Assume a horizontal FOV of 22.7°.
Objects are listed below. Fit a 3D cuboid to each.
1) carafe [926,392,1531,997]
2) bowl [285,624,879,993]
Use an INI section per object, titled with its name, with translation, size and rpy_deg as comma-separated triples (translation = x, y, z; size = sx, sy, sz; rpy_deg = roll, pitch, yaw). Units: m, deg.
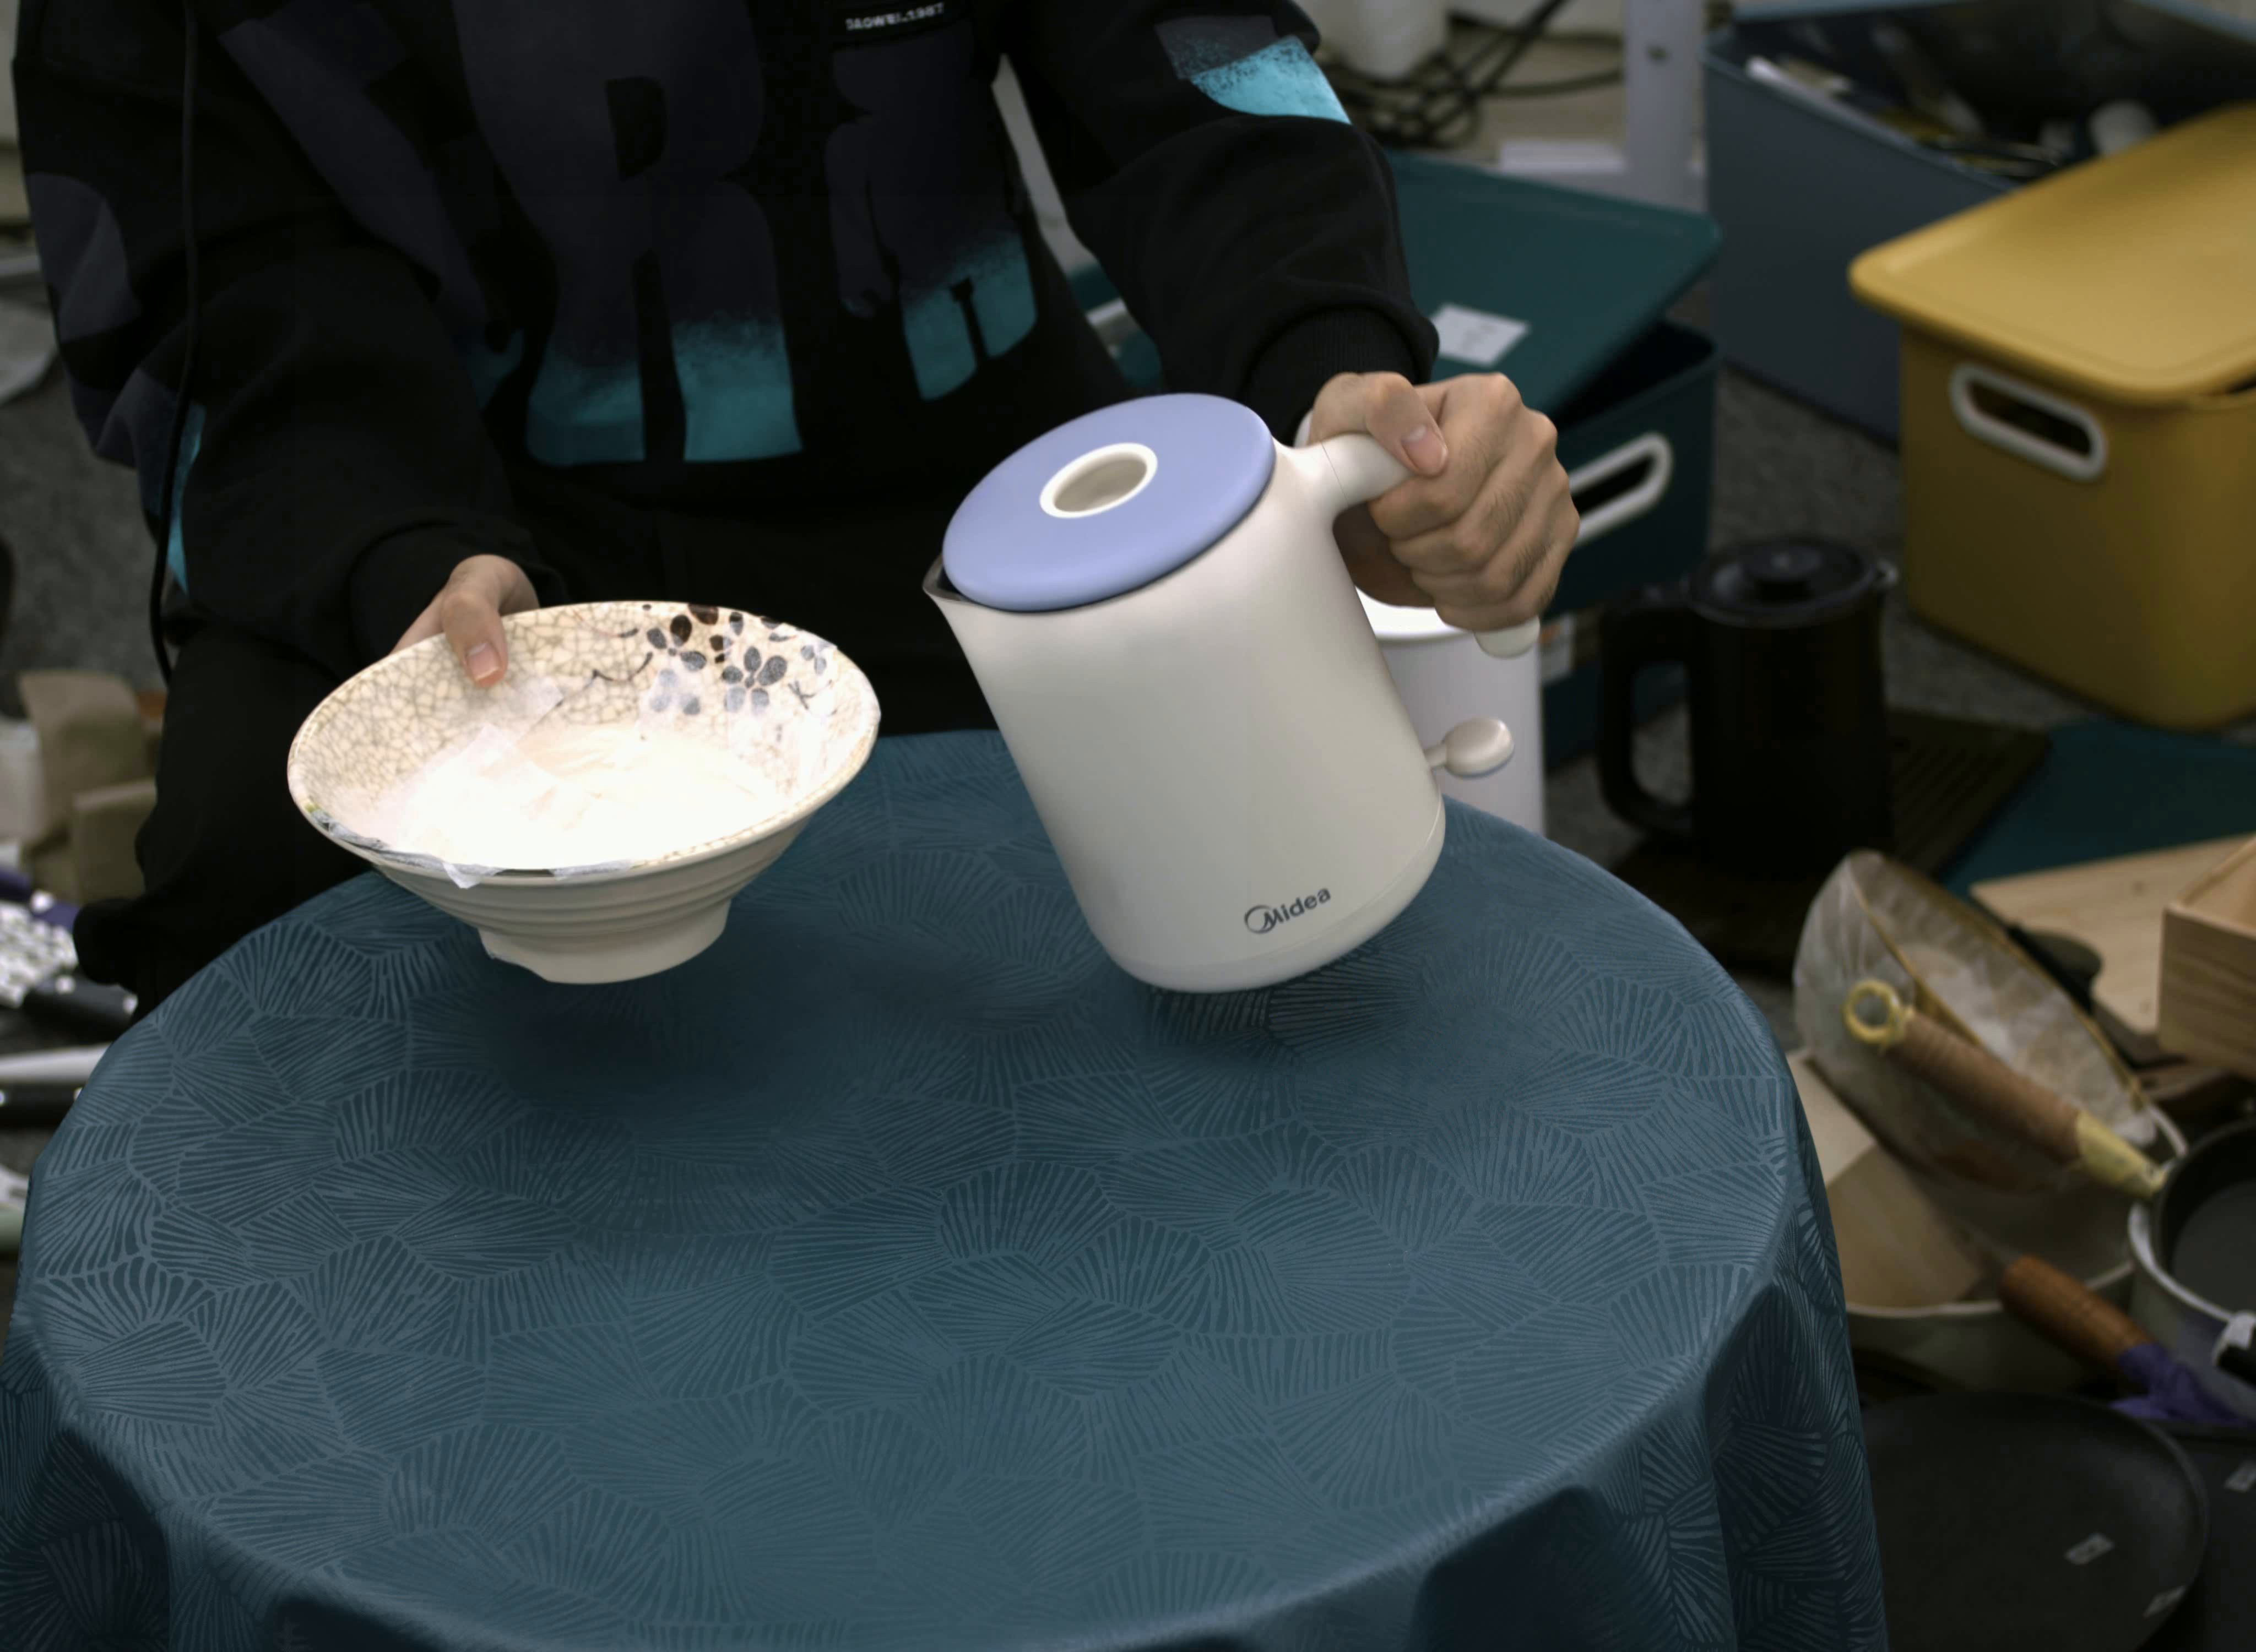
[carafe]
translation = 0.044, -0.054, 1.923
size = 0.191, 0.180, 0.134
rpy_deg = -22, 31, -3
[bowl]
translation = -0.184, 0.004, 1.936
size = 0.203, 0.077, 0.207
rpy_deg = -2, 24, 1
